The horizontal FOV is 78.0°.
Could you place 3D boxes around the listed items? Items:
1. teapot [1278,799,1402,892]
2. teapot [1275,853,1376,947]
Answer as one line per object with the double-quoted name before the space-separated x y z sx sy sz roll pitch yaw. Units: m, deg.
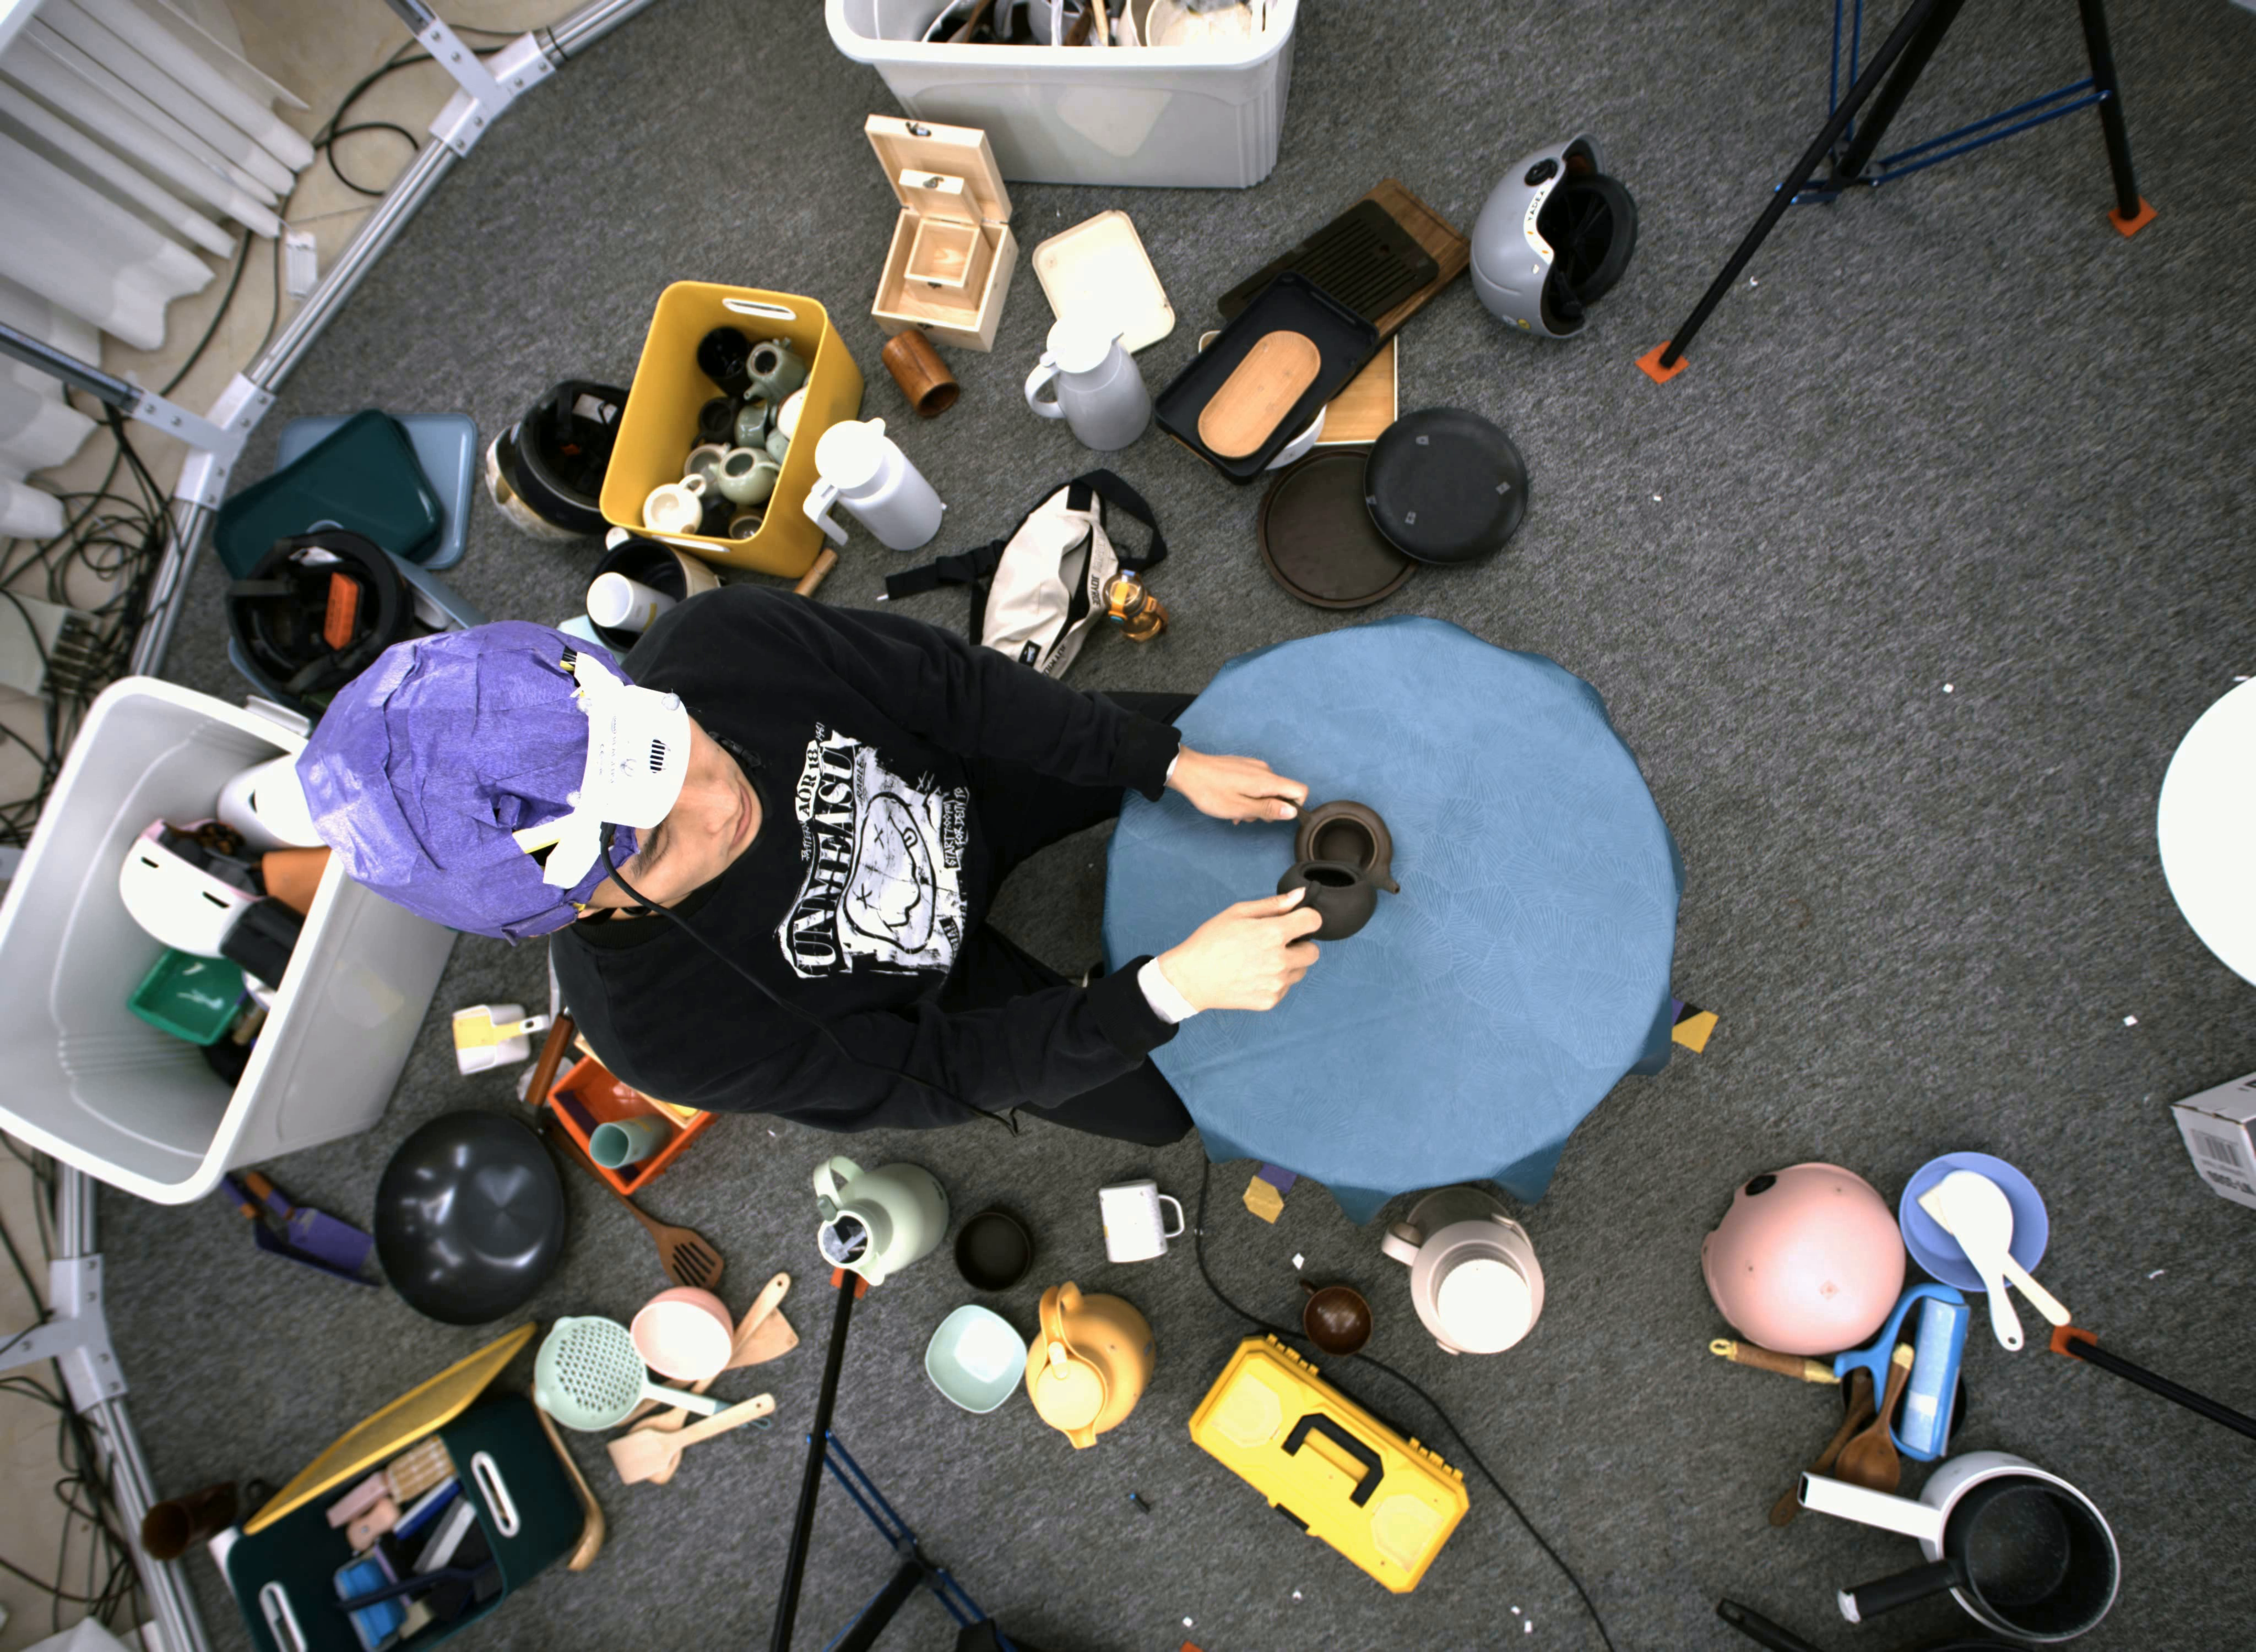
"teapot" 0.221 0.020 1.444 0.153 0.054 0.103 34 94 7
"teapot" 0.182 0.069 1.286 0.092 0.151 0.065 17 119 28
